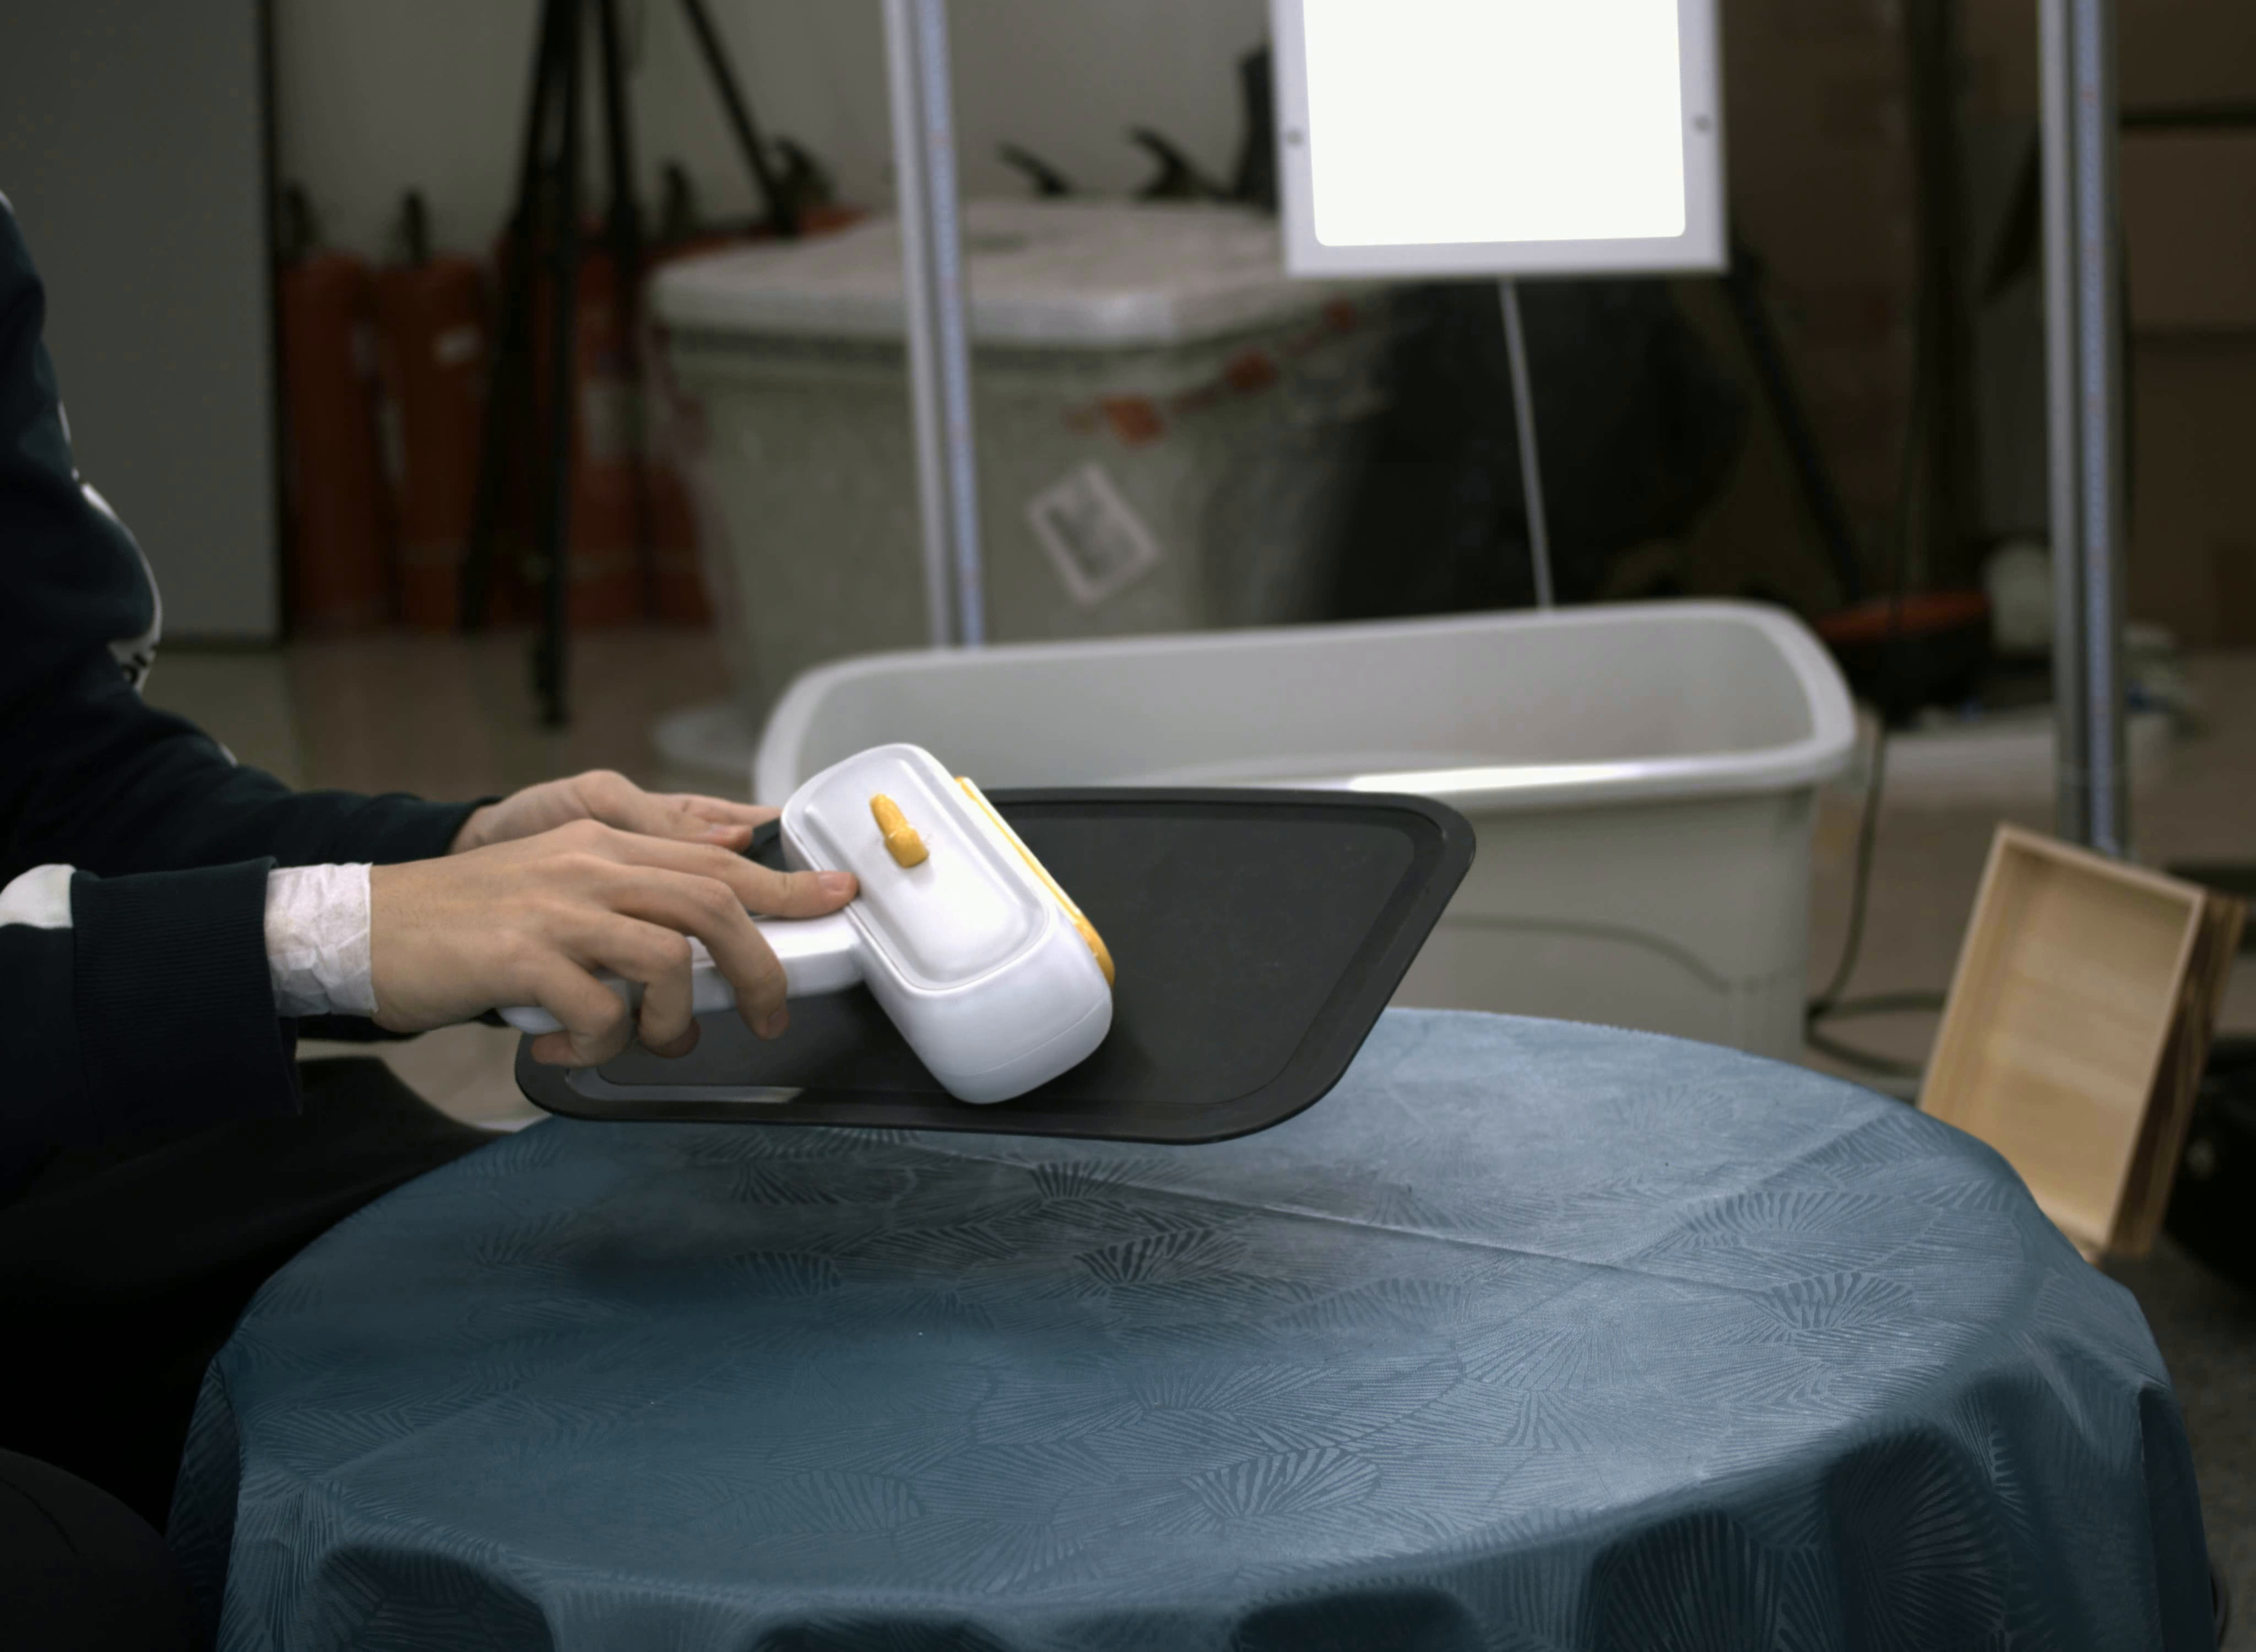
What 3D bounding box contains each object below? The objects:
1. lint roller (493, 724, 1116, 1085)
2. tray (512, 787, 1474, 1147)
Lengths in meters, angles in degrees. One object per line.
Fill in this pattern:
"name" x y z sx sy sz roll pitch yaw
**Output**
"lint roller" -0.118 0.042 1.838 0.190 0.074 0.195 -24 34 -14
"tray" -0.054 0.043 1.875 0.331 0.010 0.207 0 33 28
